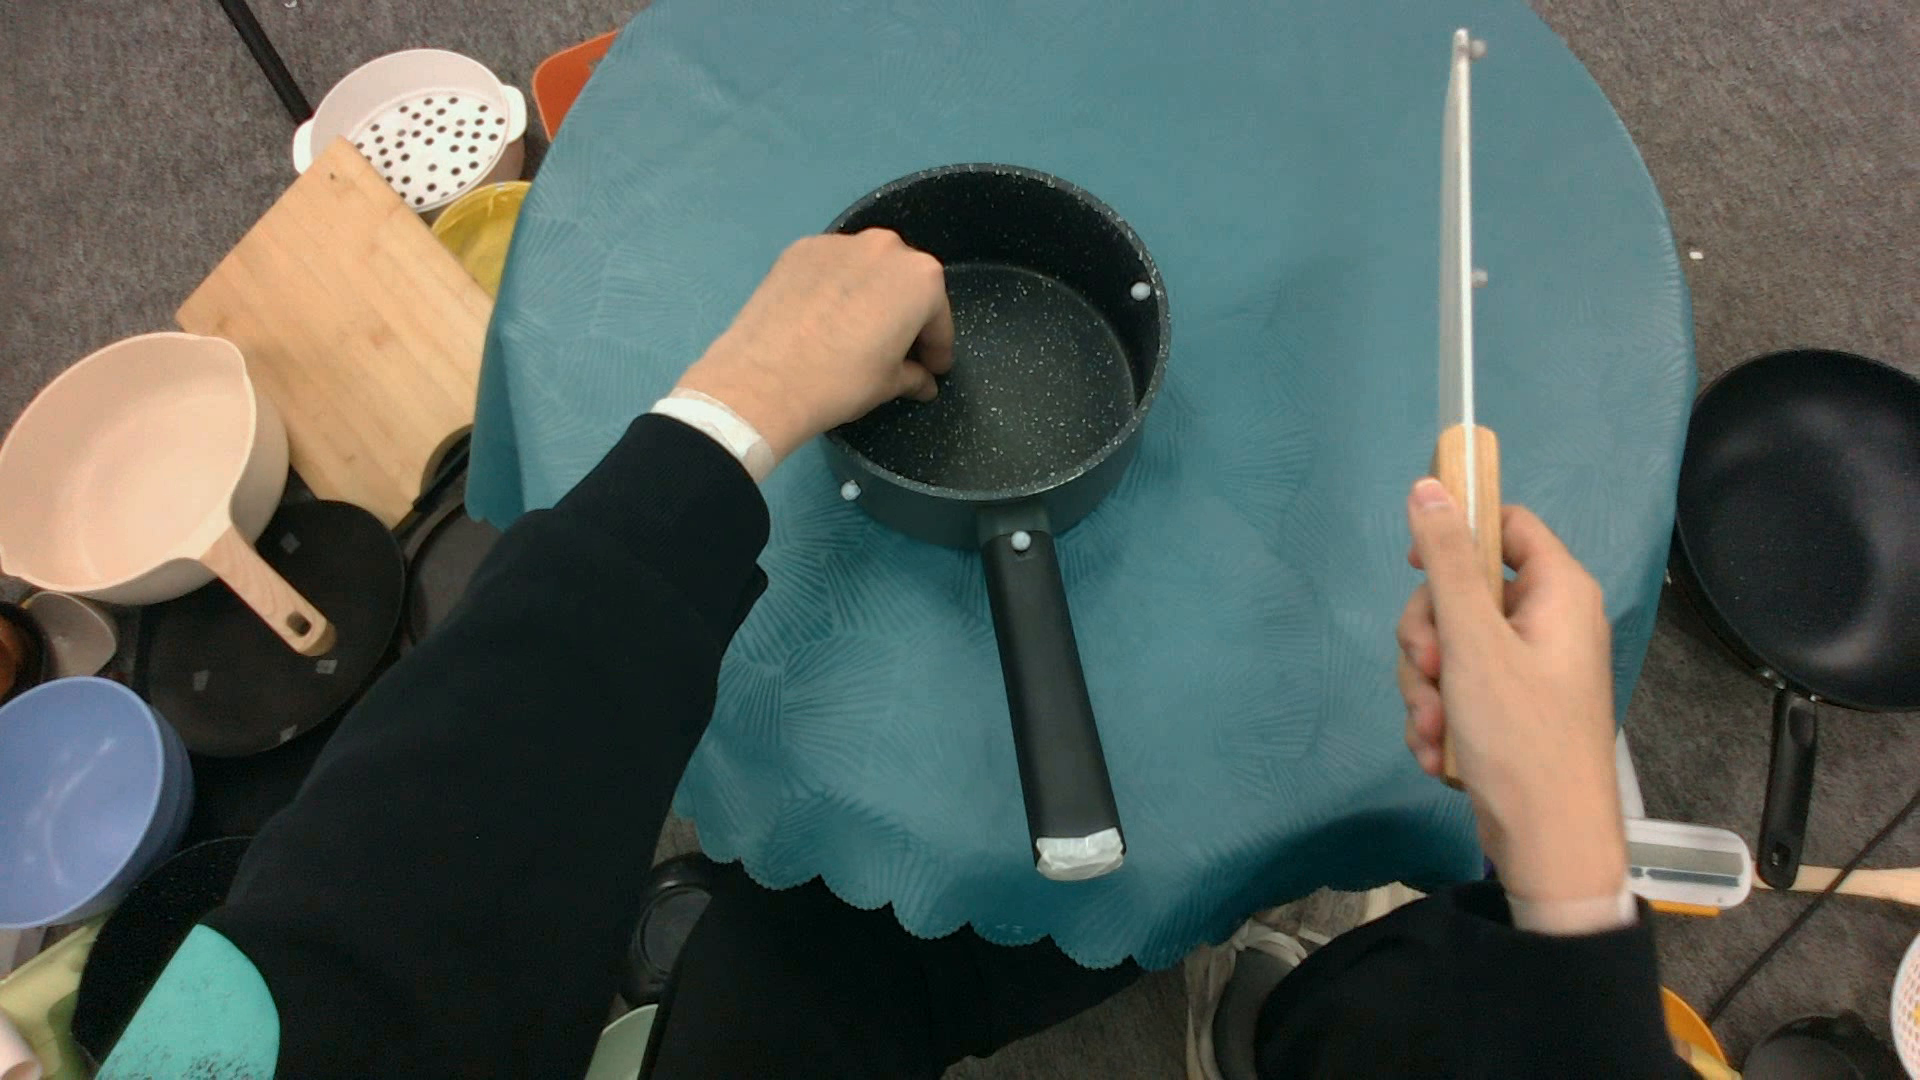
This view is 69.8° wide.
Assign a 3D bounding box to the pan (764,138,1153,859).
[{"bbox_3d":[0.010,-0.021,0.609,0.172,0.086,0.329,-7,67,-1],"label":"pan"}]

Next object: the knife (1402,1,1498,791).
[{"bbox_3d":[0.184,-0.062,0.530,0.022,0.113,0.316,1,71,9],"label":"knife"}]
